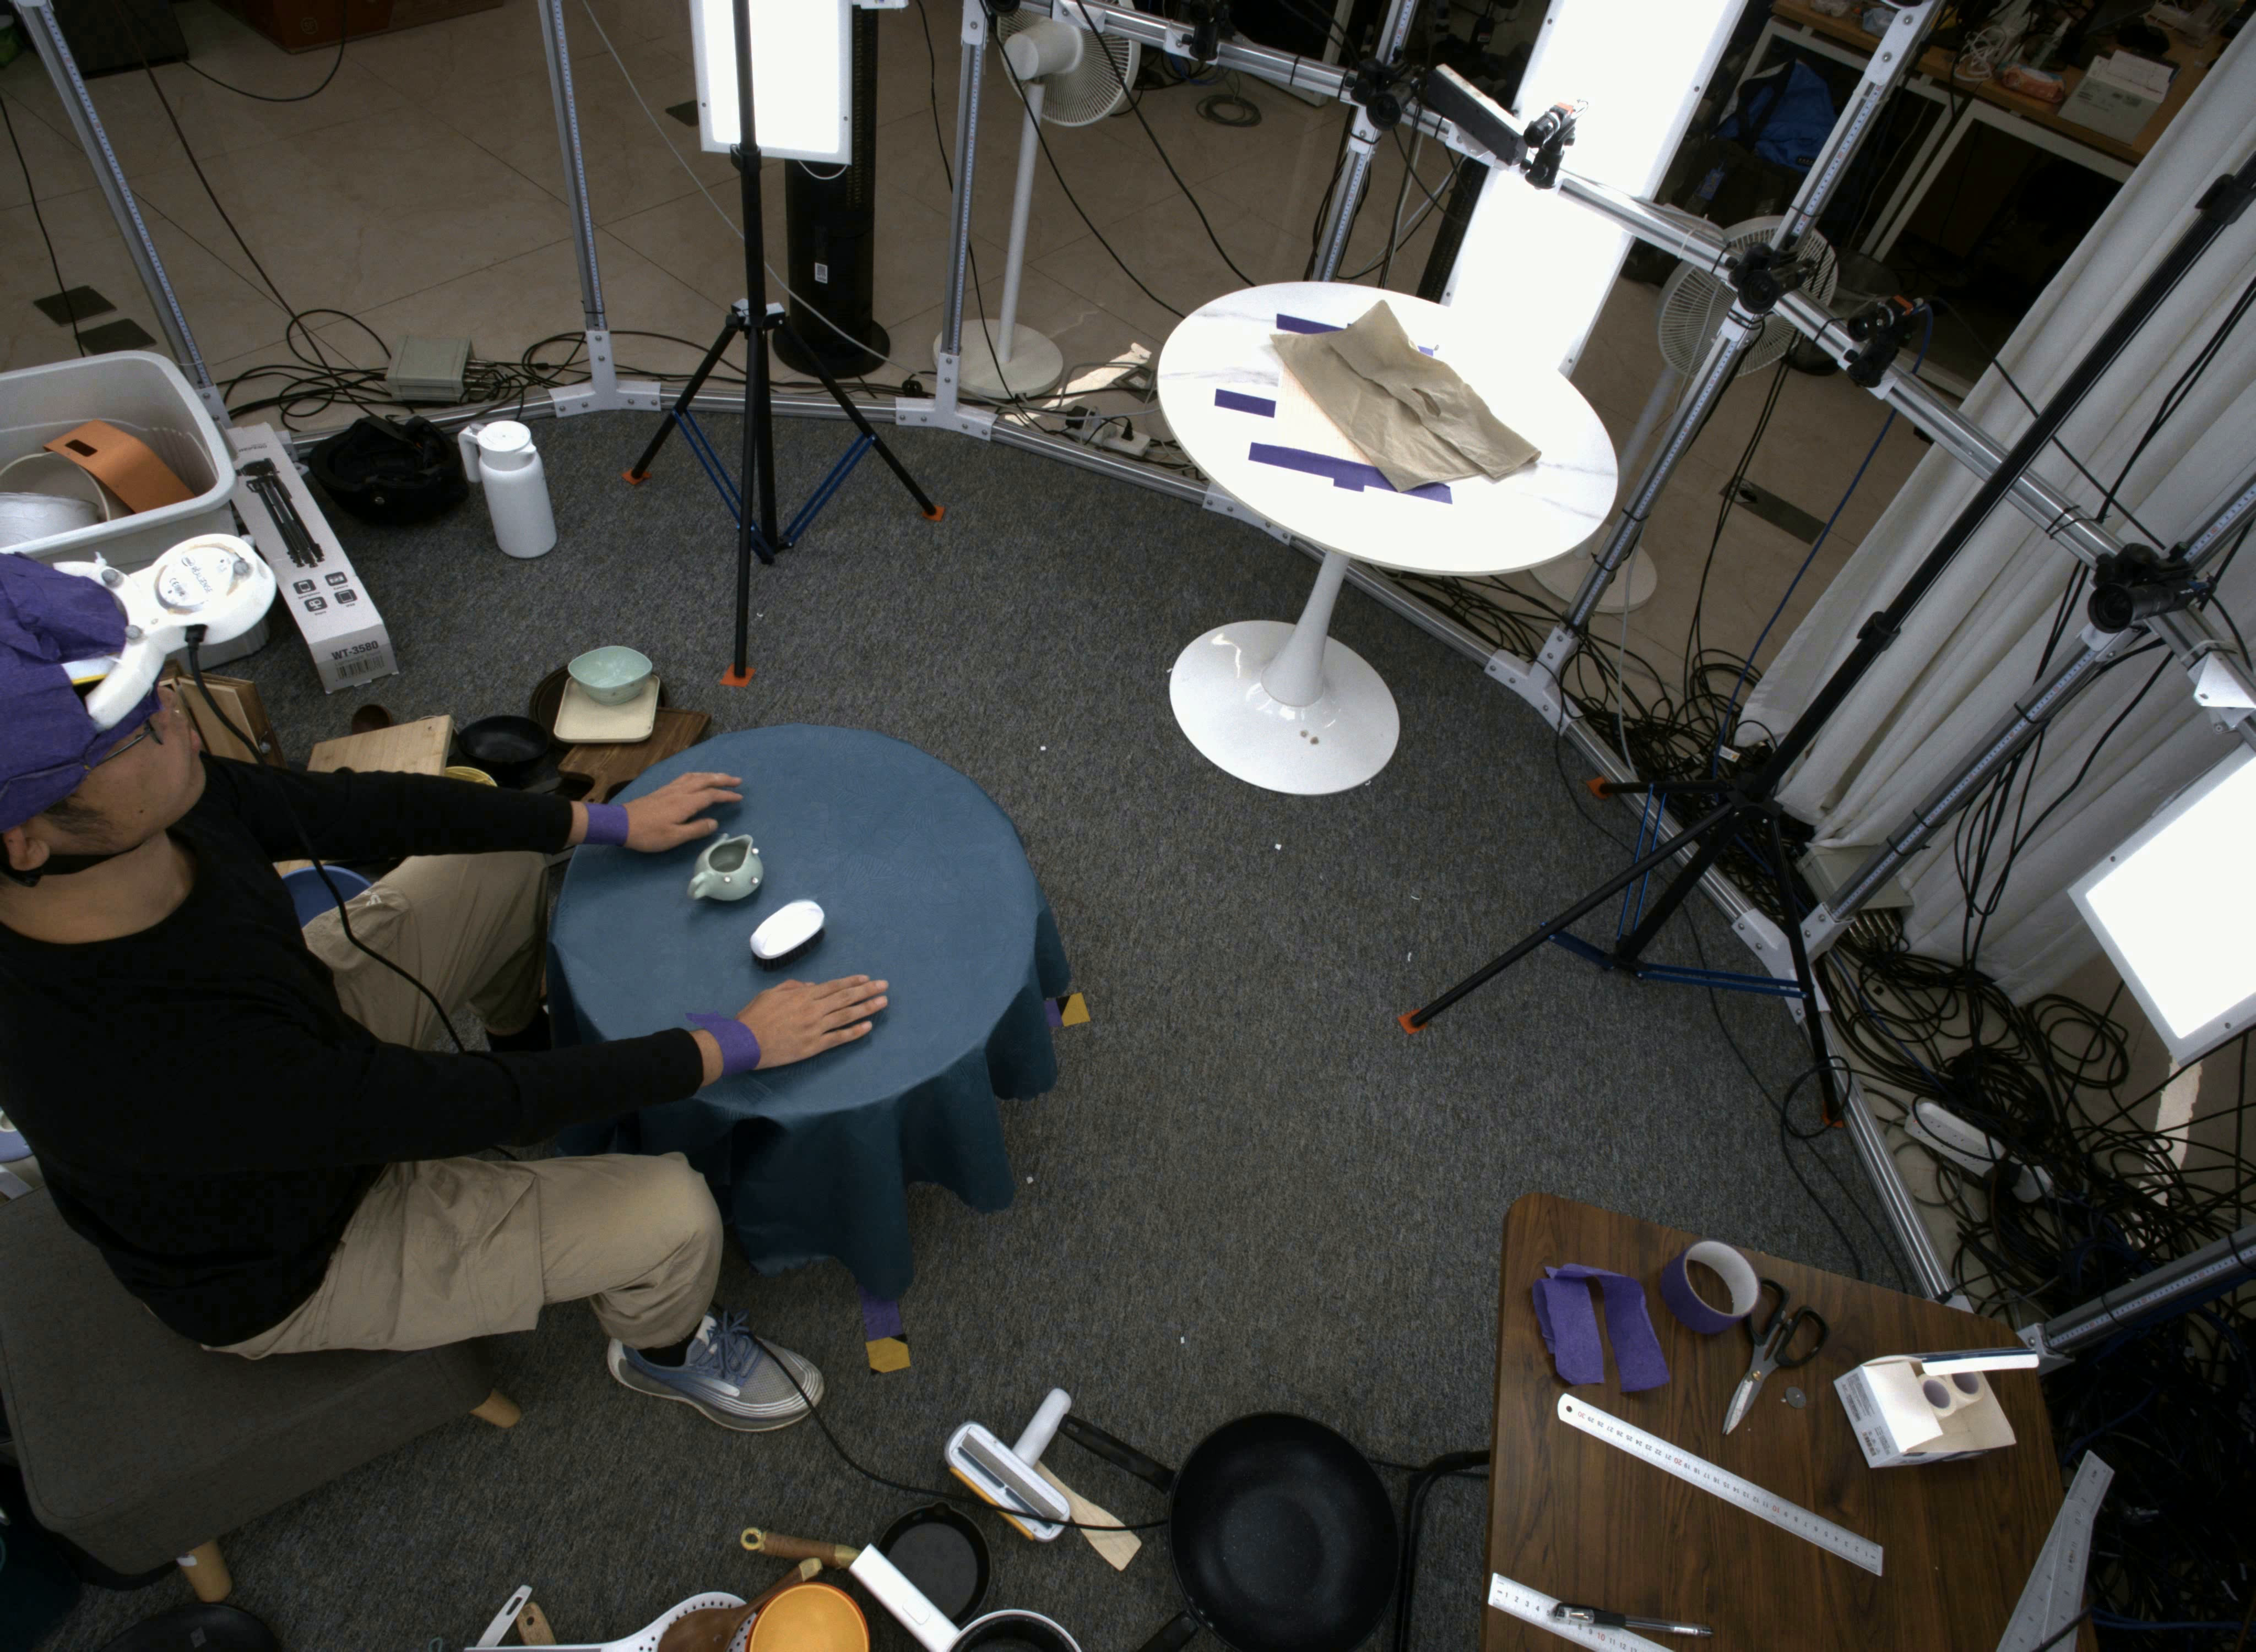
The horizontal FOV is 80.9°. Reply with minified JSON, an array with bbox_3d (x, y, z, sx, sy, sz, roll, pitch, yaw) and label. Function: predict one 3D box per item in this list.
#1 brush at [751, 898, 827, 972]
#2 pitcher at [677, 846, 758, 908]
[{"bbox_3d":[-0.417,0.125,1.589,0.099,0.074,0.049,-33,63,-33],"label":"brush"},{"bbox_3d":[-0.517,0.062,1.617,0.109,0.060,0.085,-24,72,-47],"label":"pitcher"}]
